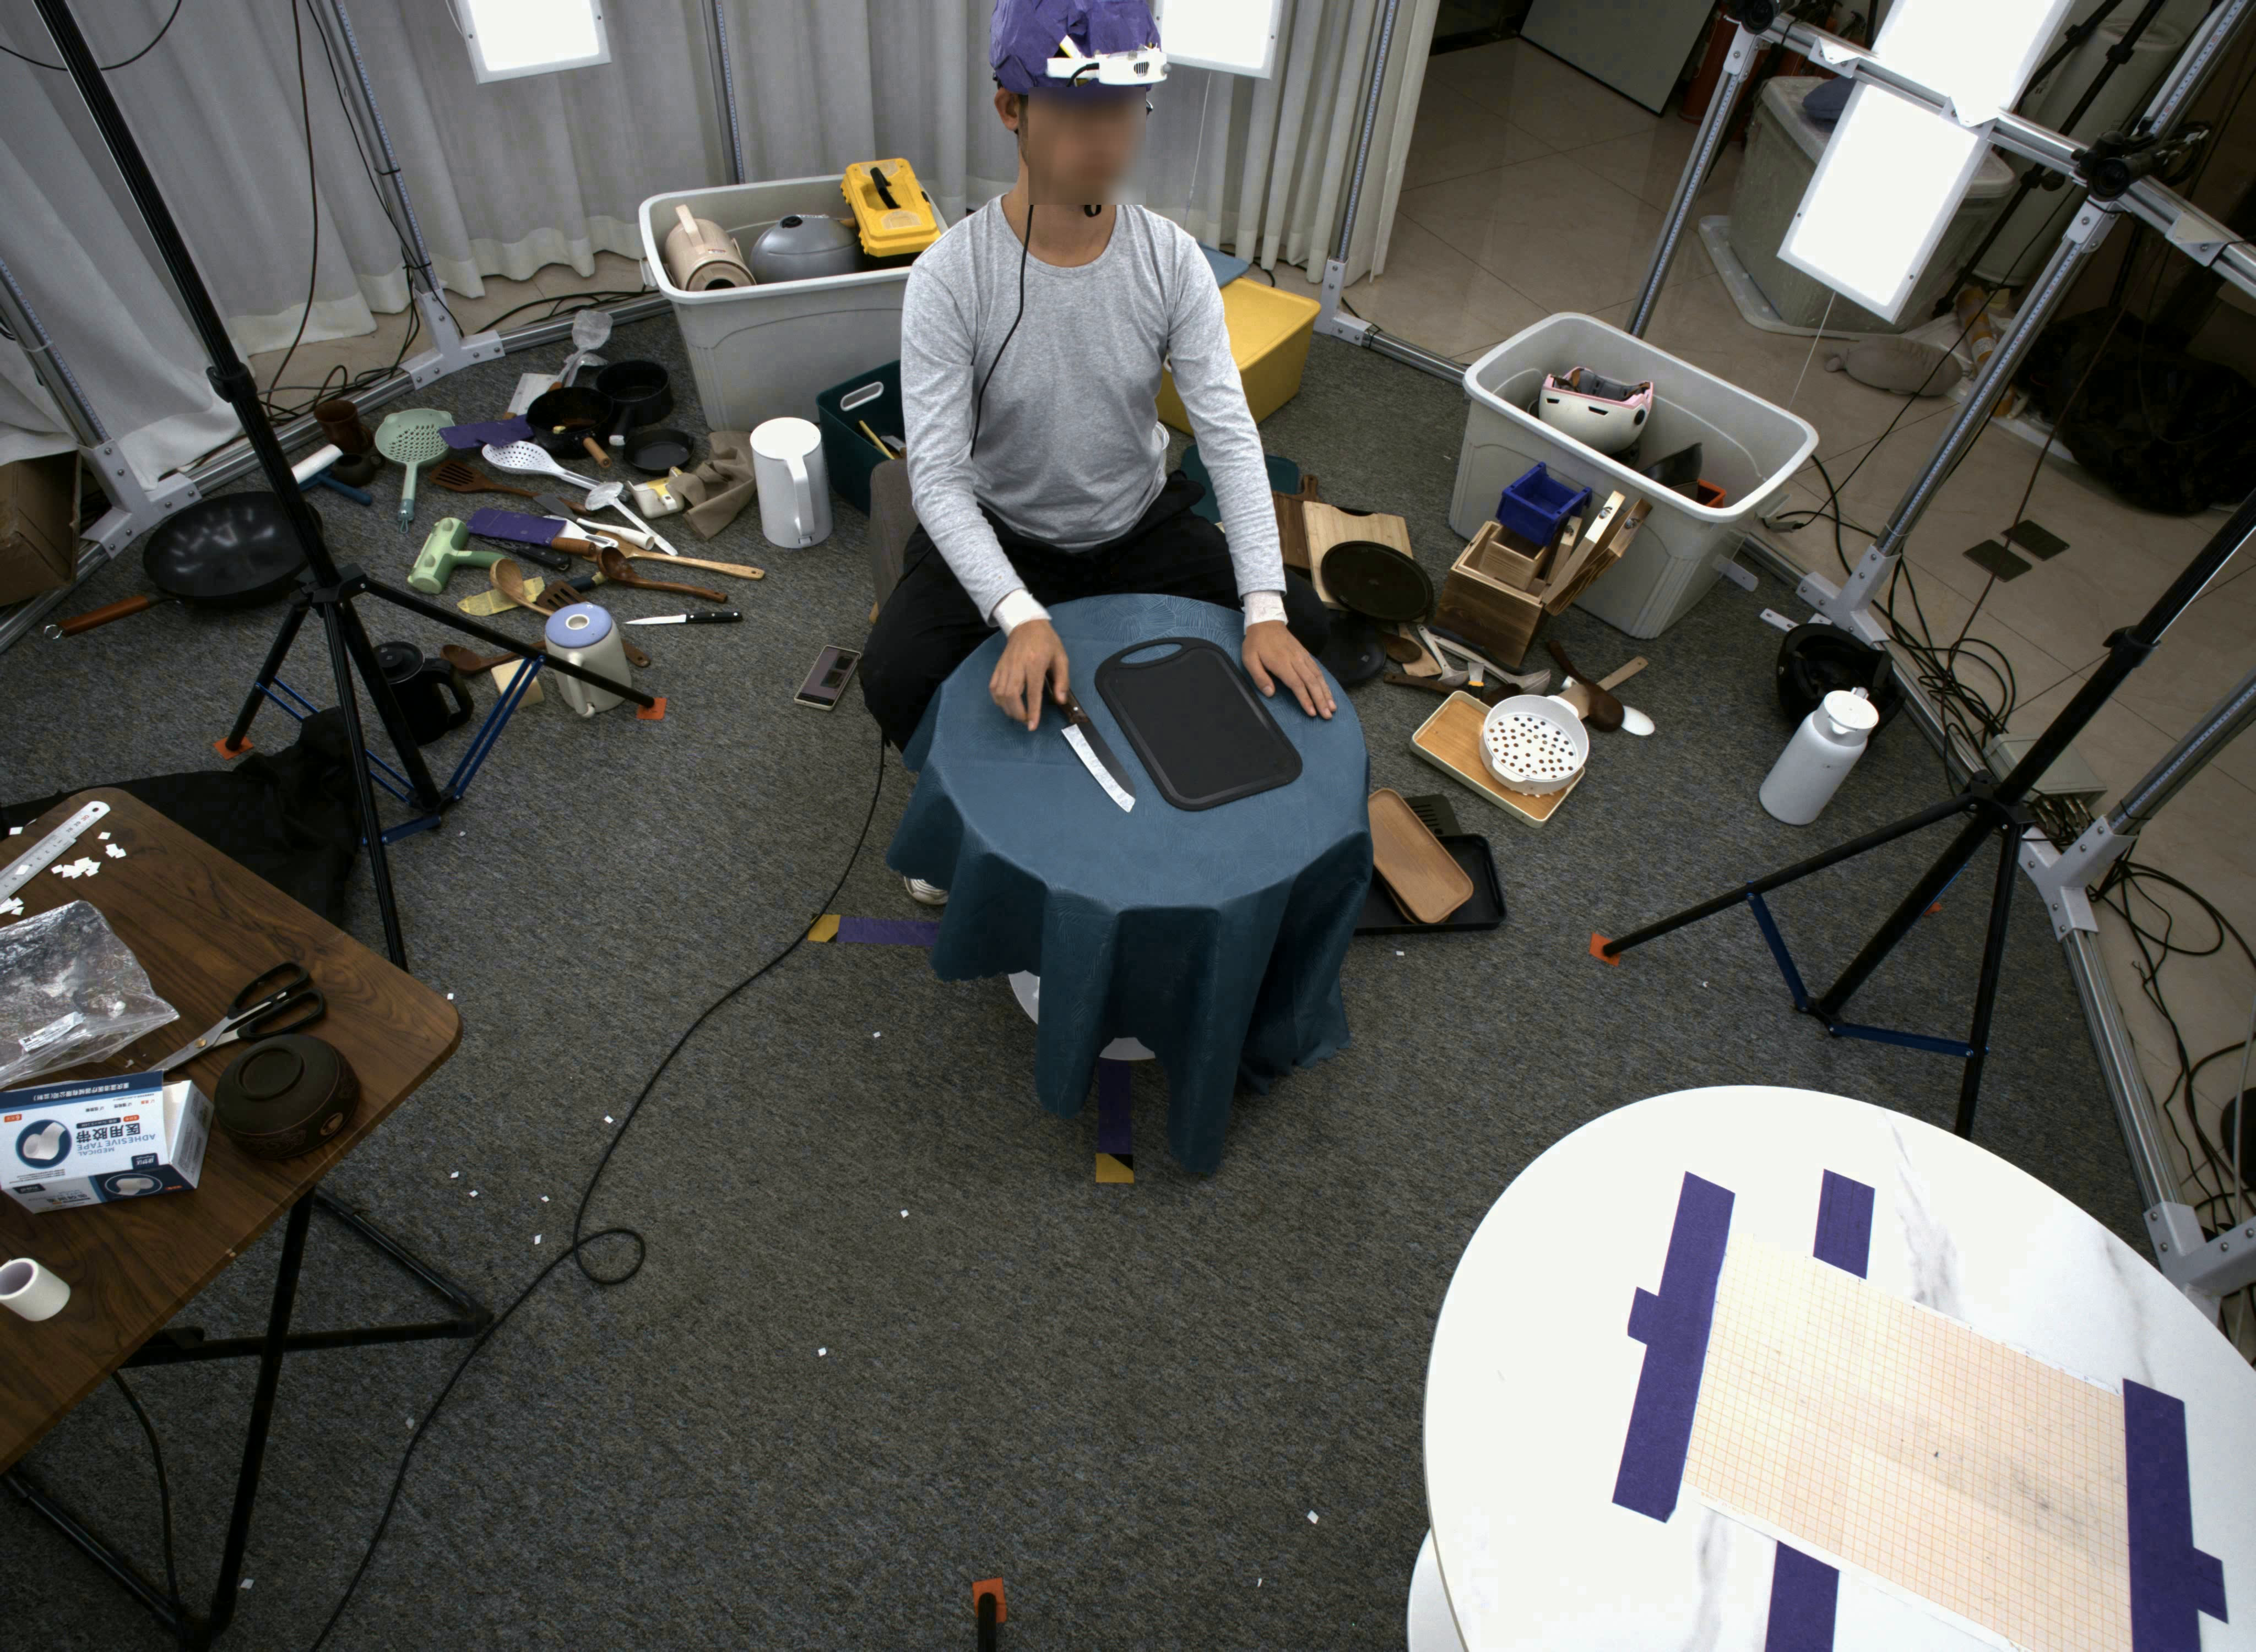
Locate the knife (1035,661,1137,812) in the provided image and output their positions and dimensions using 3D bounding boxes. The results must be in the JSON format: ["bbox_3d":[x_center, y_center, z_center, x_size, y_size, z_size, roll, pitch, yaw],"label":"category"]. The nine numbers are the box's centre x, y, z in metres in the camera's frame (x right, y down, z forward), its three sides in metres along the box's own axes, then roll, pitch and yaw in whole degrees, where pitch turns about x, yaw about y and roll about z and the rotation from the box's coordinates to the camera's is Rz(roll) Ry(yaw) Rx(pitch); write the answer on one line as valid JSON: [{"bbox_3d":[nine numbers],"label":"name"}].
[{"bbox_3d":[-0.060,-0.125,1.762,0.050,0.019,0.295,-21,56,-15],"label":"knife"}]

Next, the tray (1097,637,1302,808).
[{"bbox_3d":[0.092,-0.157,1.806,0.211,0.009,0.333,-16,52,-17],"label":"tray"}]
